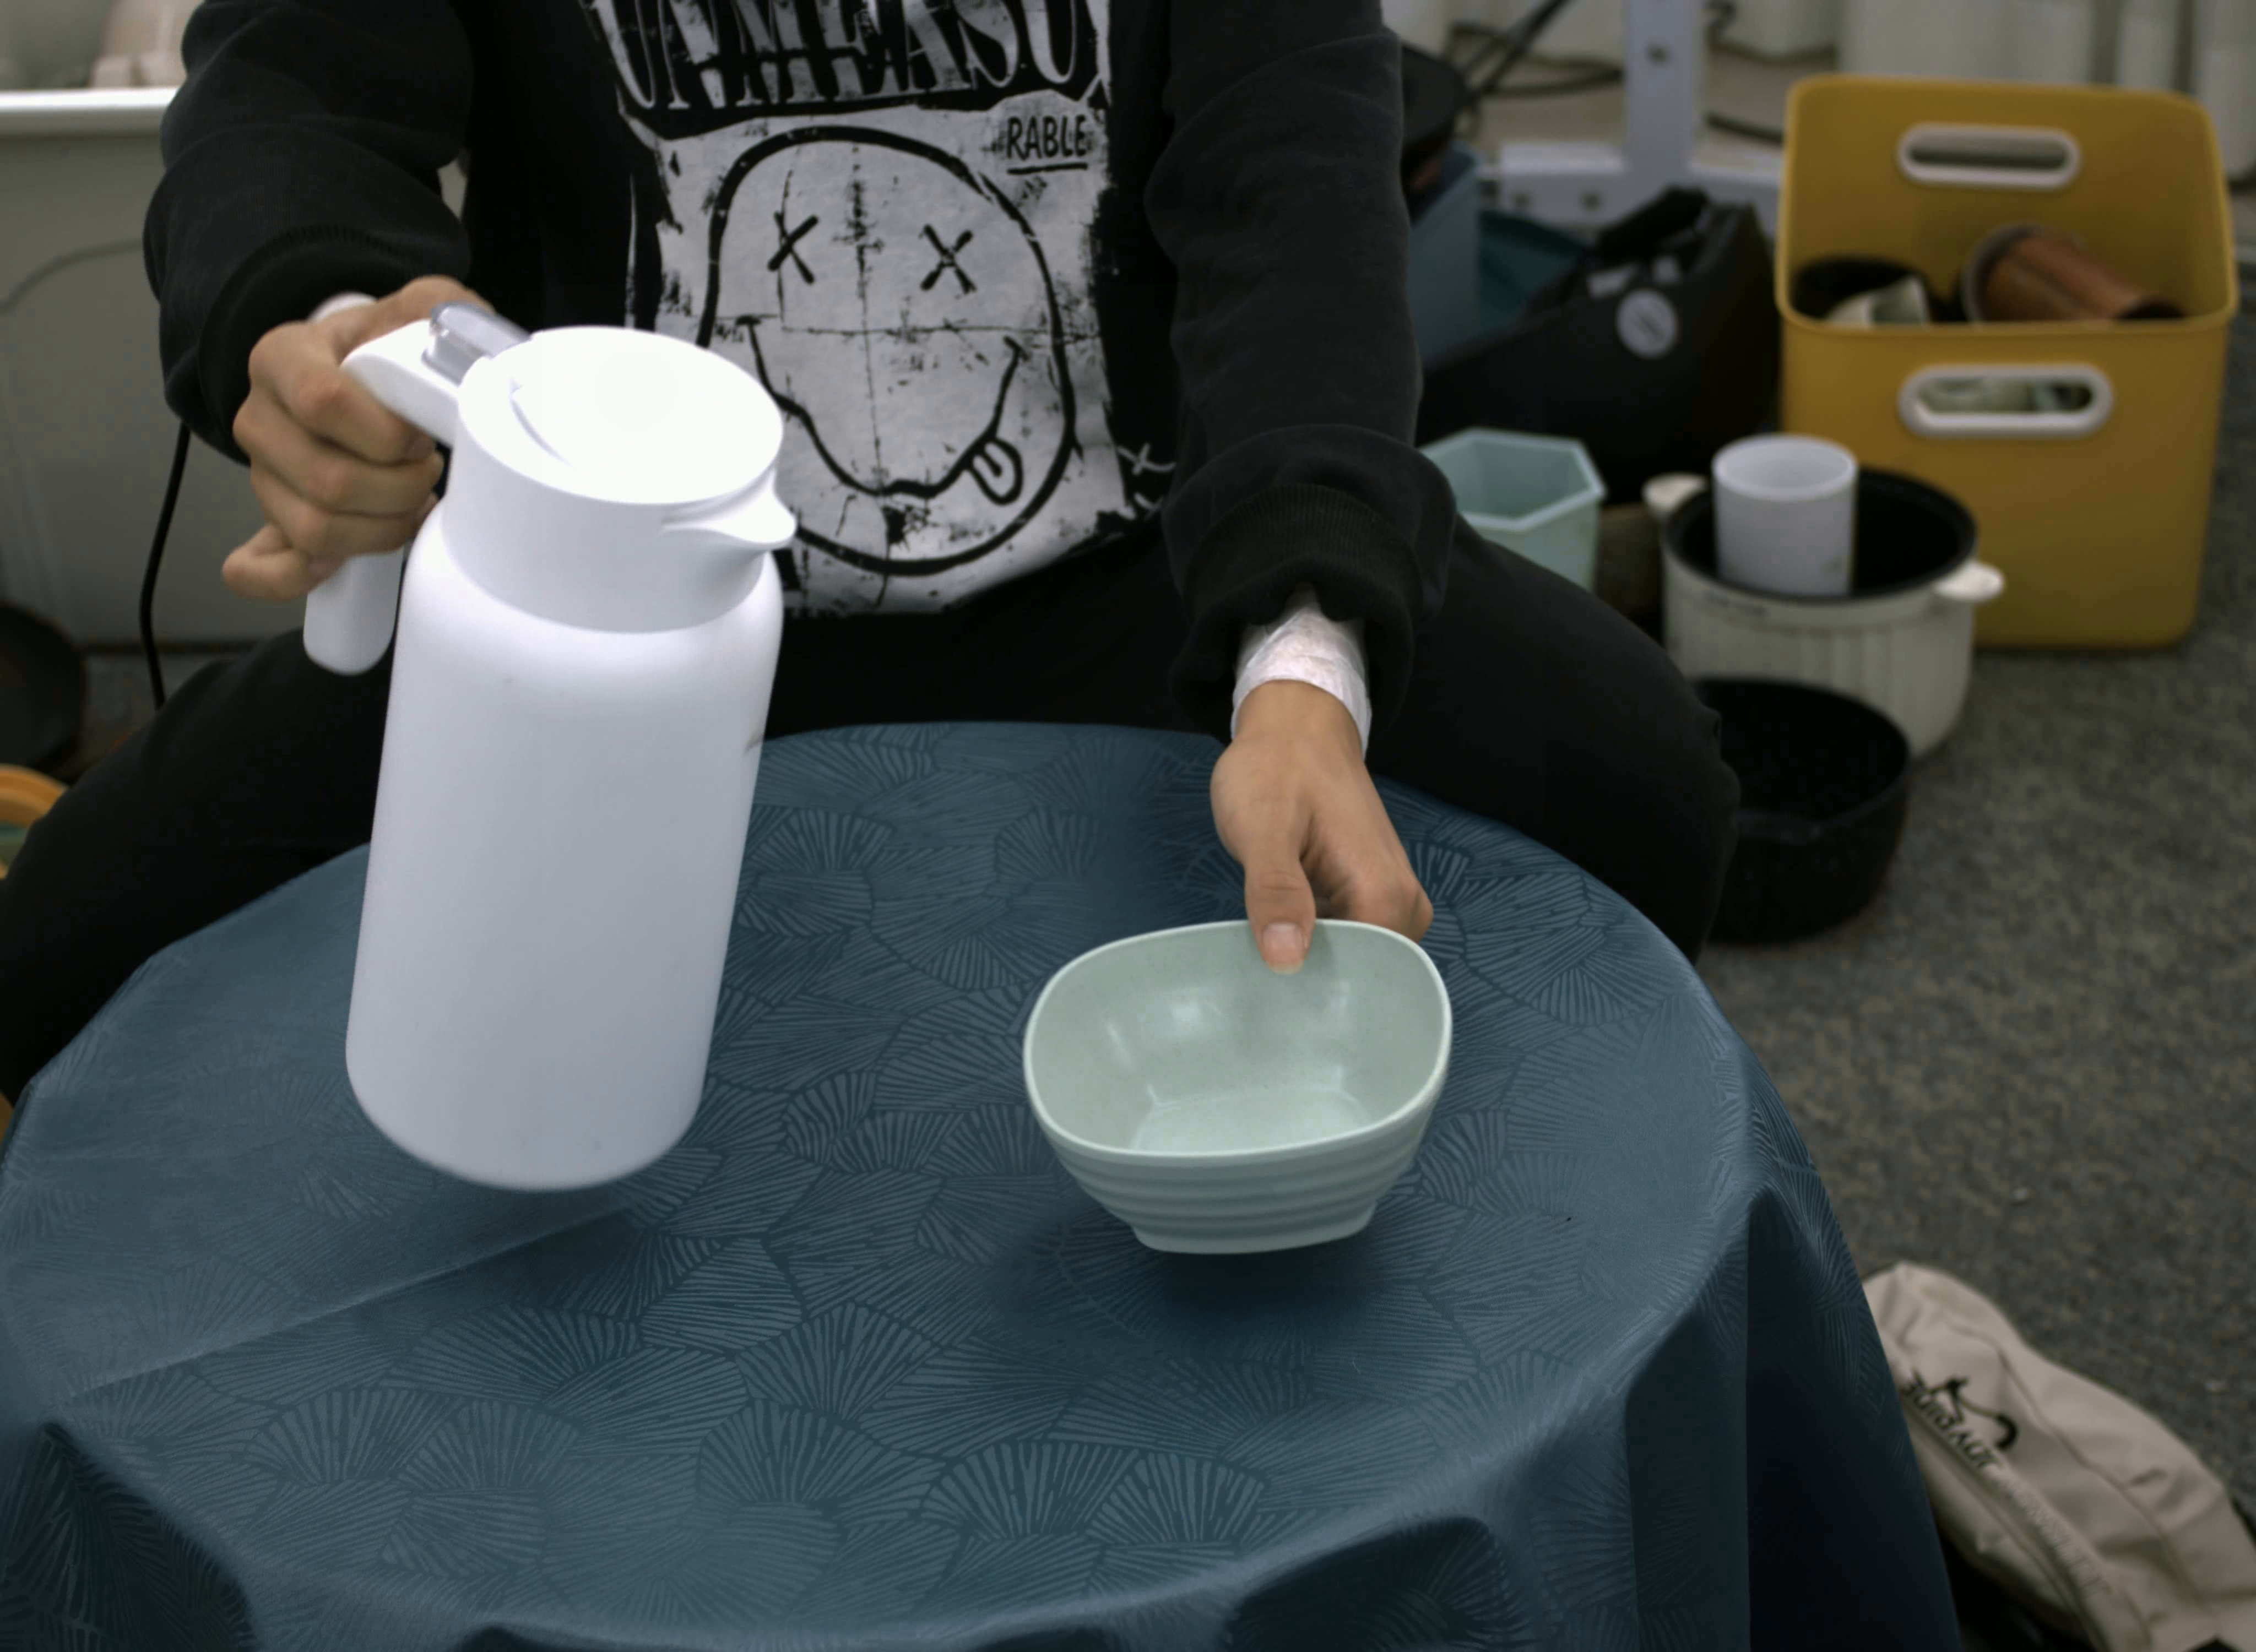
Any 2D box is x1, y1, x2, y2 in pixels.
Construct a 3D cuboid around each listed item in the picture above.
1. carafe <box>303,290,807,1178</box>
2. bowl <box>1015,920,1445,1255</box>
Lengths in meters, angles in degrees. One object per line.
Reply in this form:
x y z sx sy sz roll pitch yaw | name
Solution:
-0.190 -0.032 1.771 0.173 0.265 0.125 30 39 23 | carafe
0.035 0.091 1.814 0.150 0.058 0.154 -5 29 3 | bowl
